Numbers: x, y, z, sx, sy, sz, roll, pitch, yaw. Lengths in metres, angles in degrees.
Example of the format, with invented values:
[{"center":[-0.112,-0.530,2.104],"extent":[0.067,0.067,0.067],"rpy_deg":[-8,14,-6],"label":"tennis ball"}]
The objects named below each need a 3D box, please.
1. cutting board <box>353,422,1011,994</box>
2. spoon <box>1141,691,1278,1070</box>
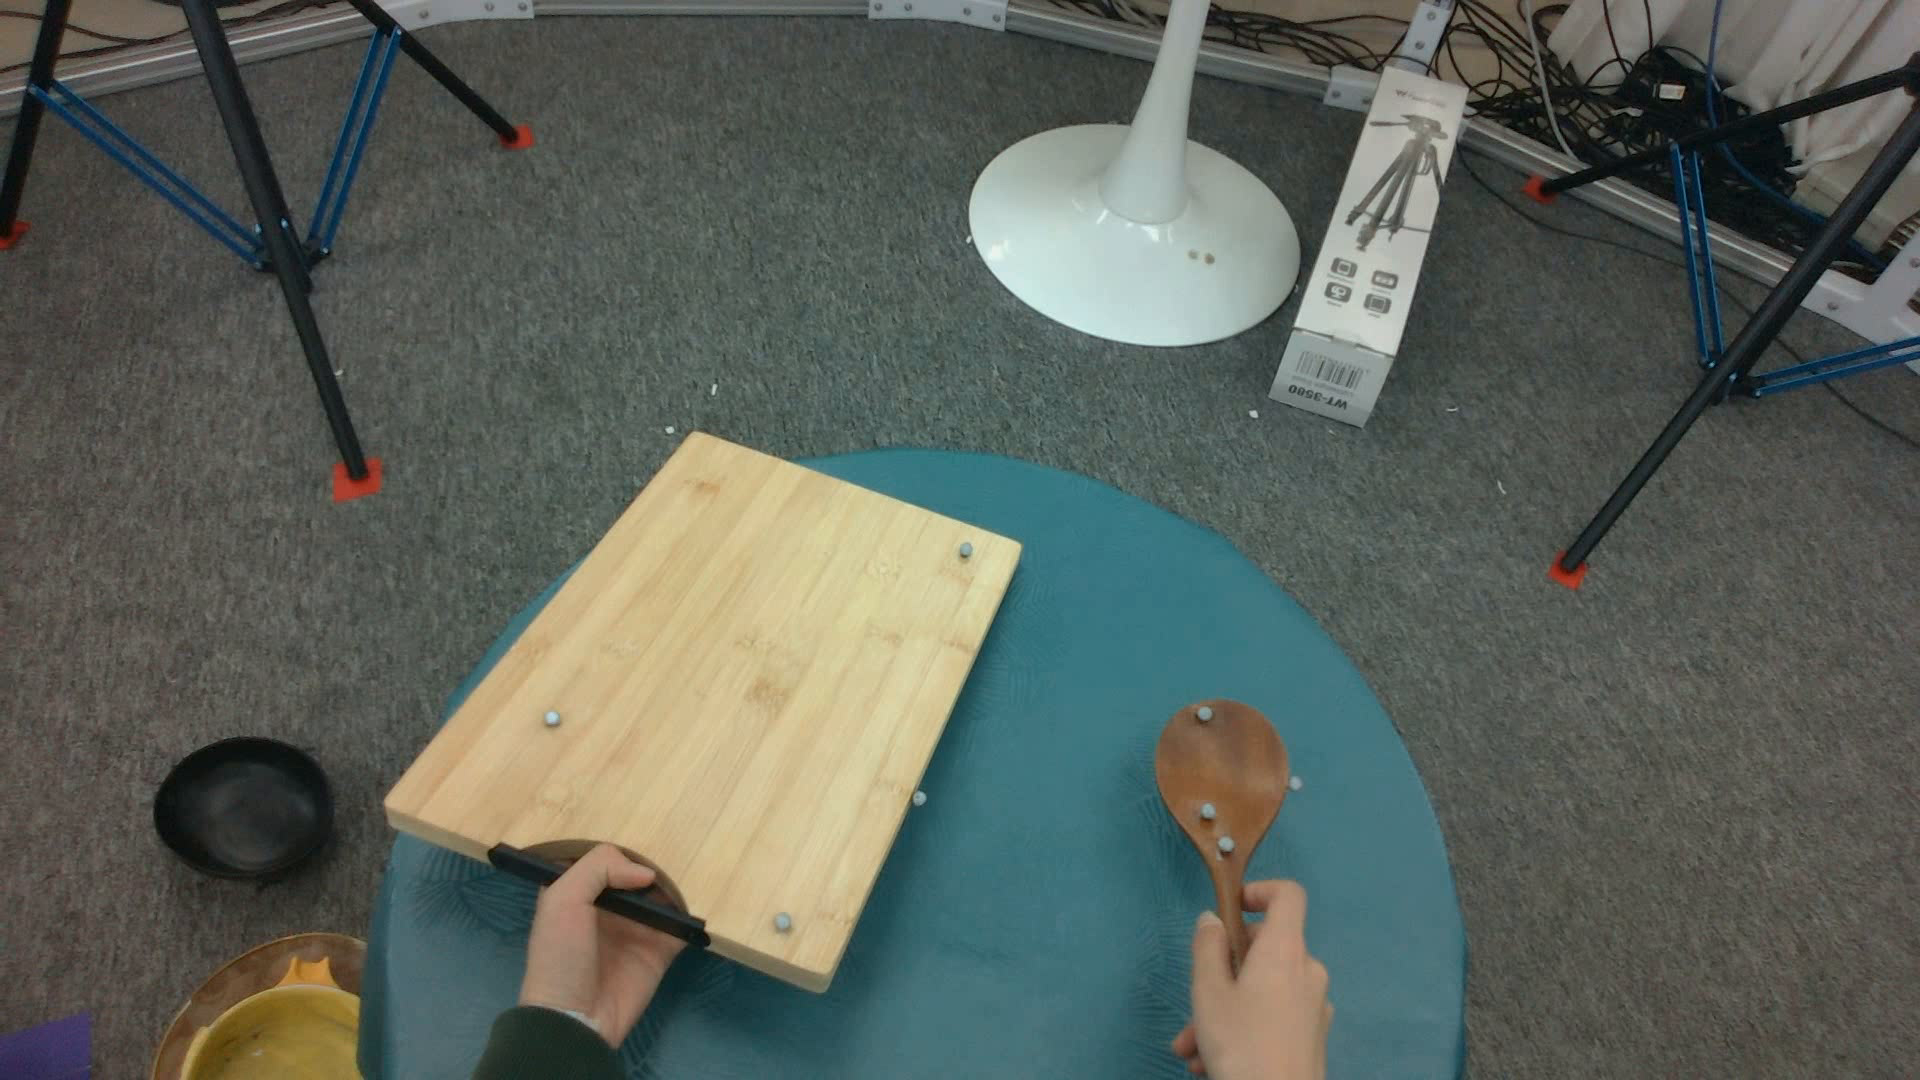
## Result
[{"center":[-0.133,0.070,0.795],"extent":[0.250,0.023,0.350],"rpy_deg":[18,42,6],"label":"cutting board"},{"center":[0.134,0.170,0.725],"extent":[0.075,0.017,0.217],"rpy_deg":[-2,47,8],"label":"spoon"}]
